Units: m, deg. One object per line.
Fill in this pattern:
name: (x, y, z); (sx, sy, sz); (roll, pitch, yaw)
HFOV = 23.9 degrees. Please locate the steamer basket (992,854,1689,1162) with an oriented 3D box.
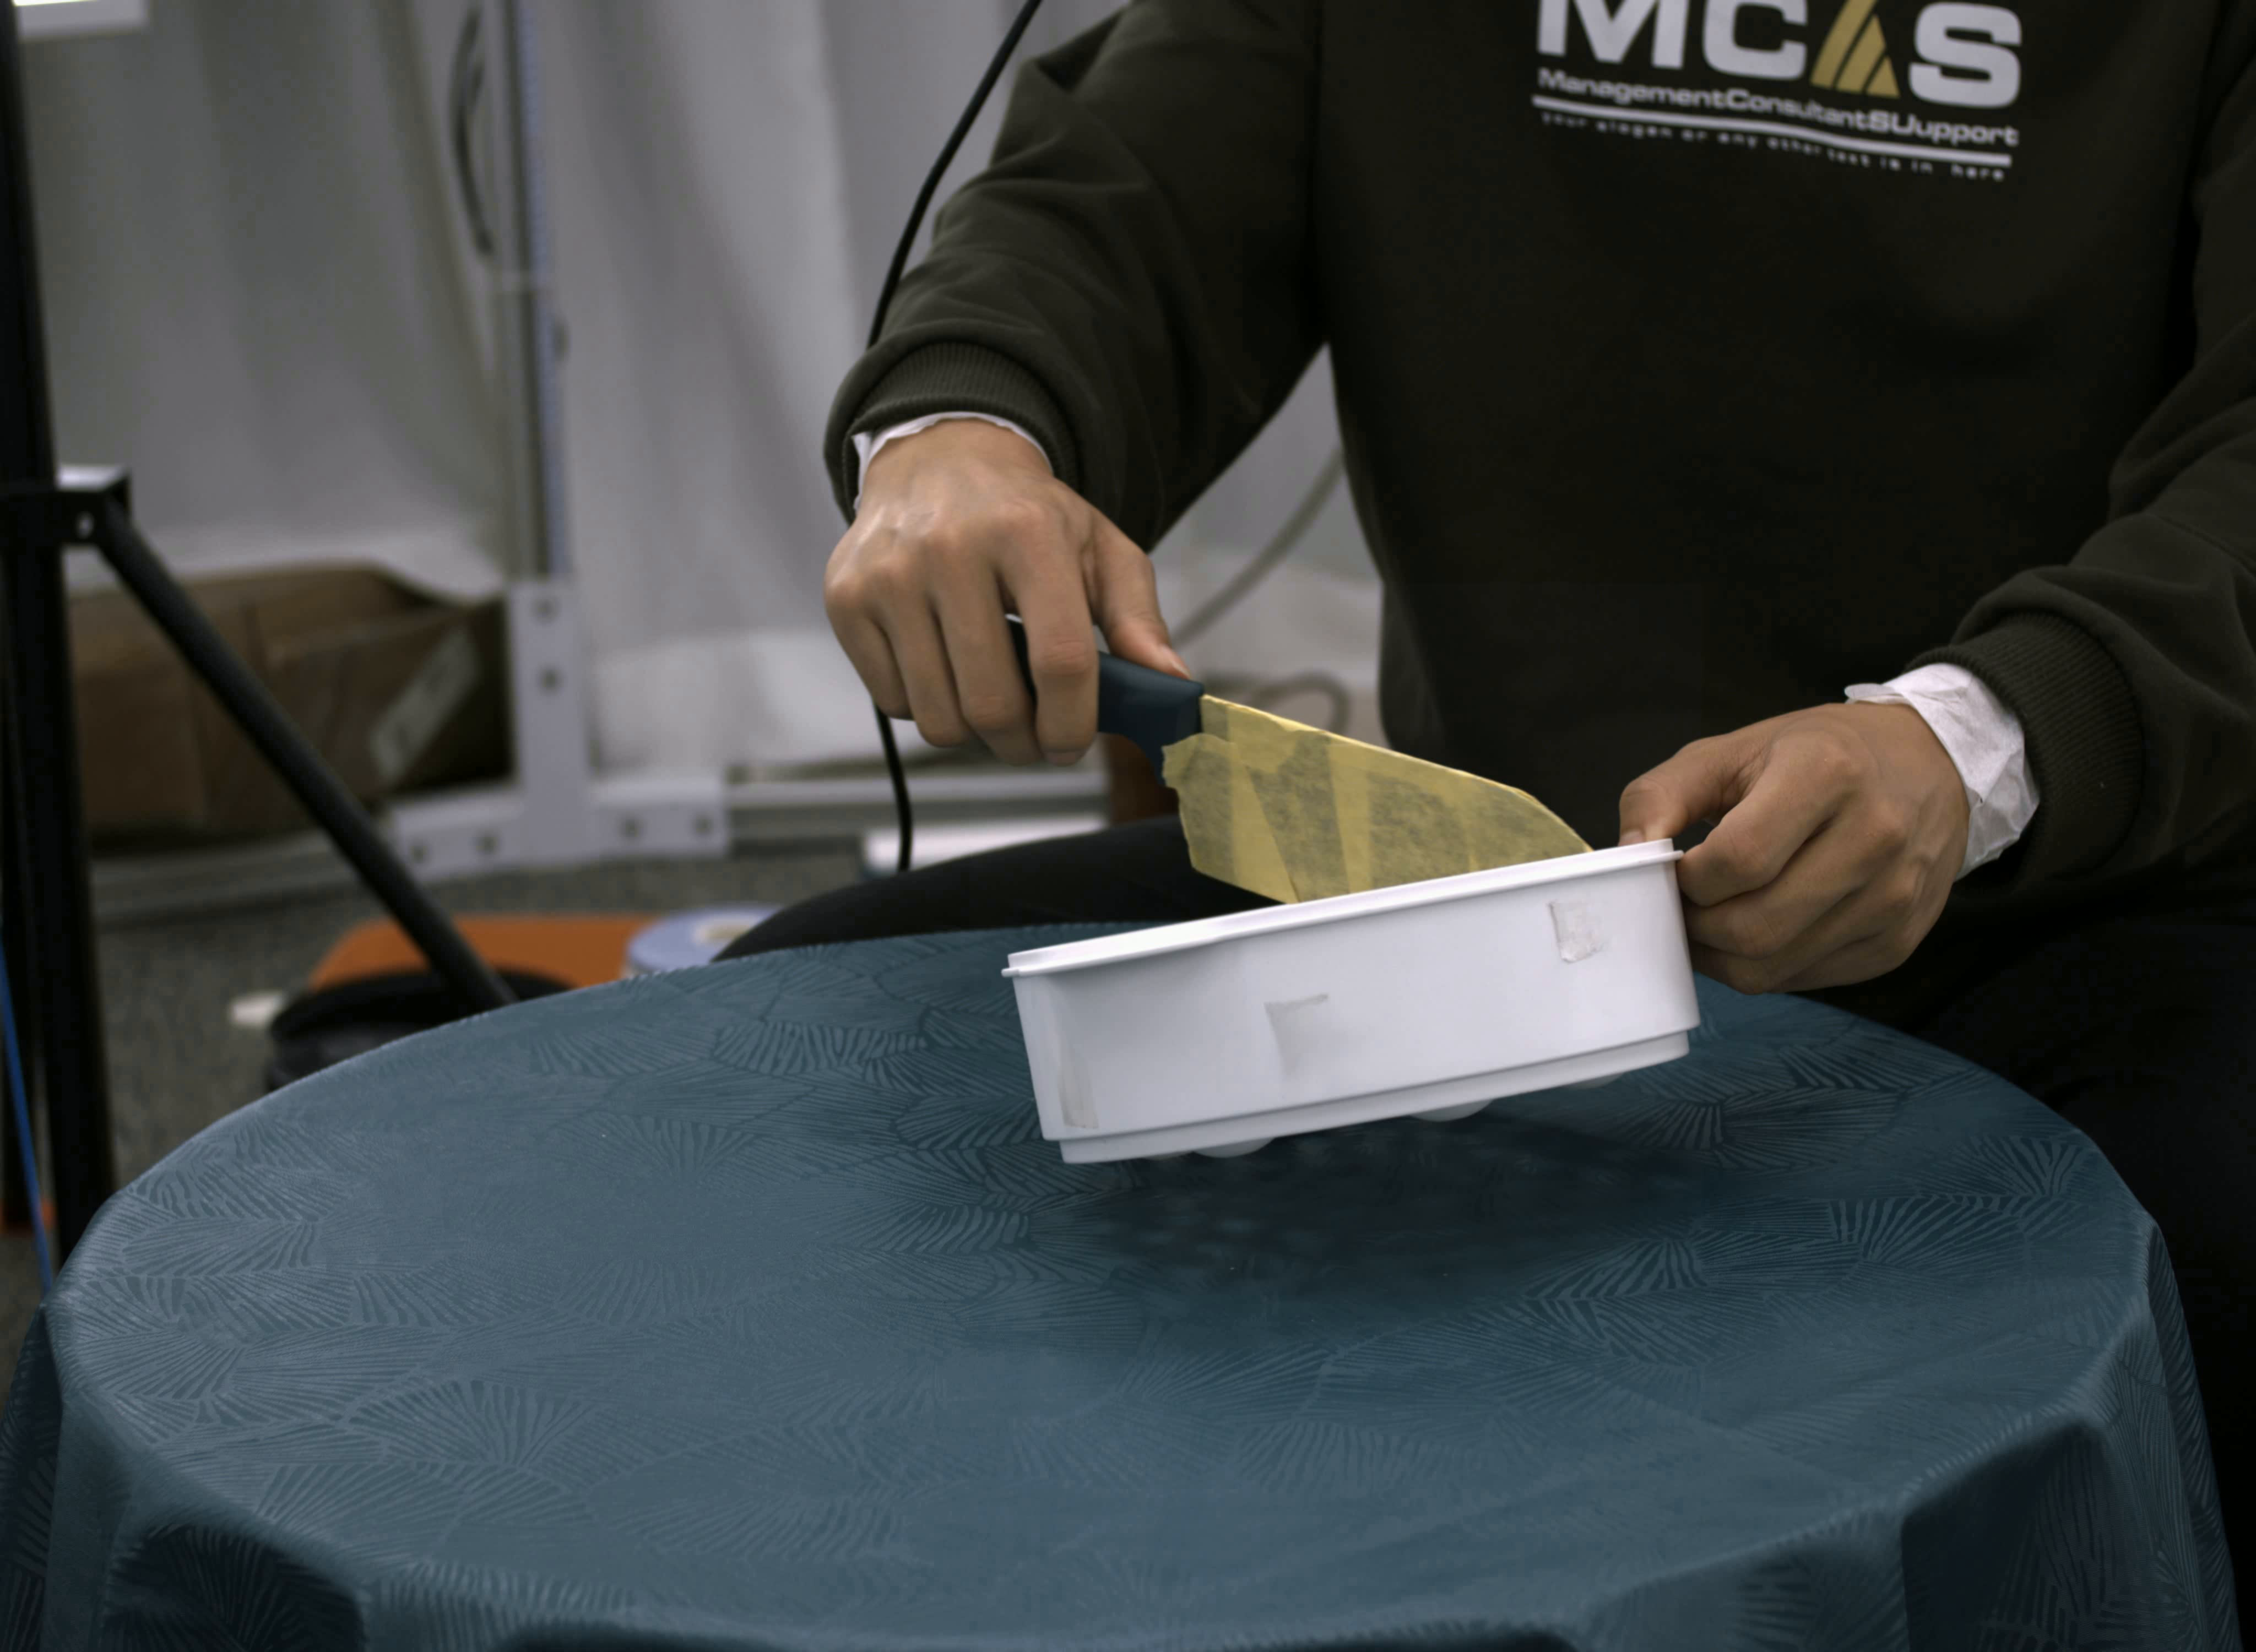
steamer basket: (0.063, 0.055, 1.534); (0.206, 0.069, 0.225); (-10, -2, 44)

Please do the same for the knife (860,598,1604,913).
knife: (0.035, -0.011, 1.608); (0.295, 0.080, 0.027); (22, 43, 33)
